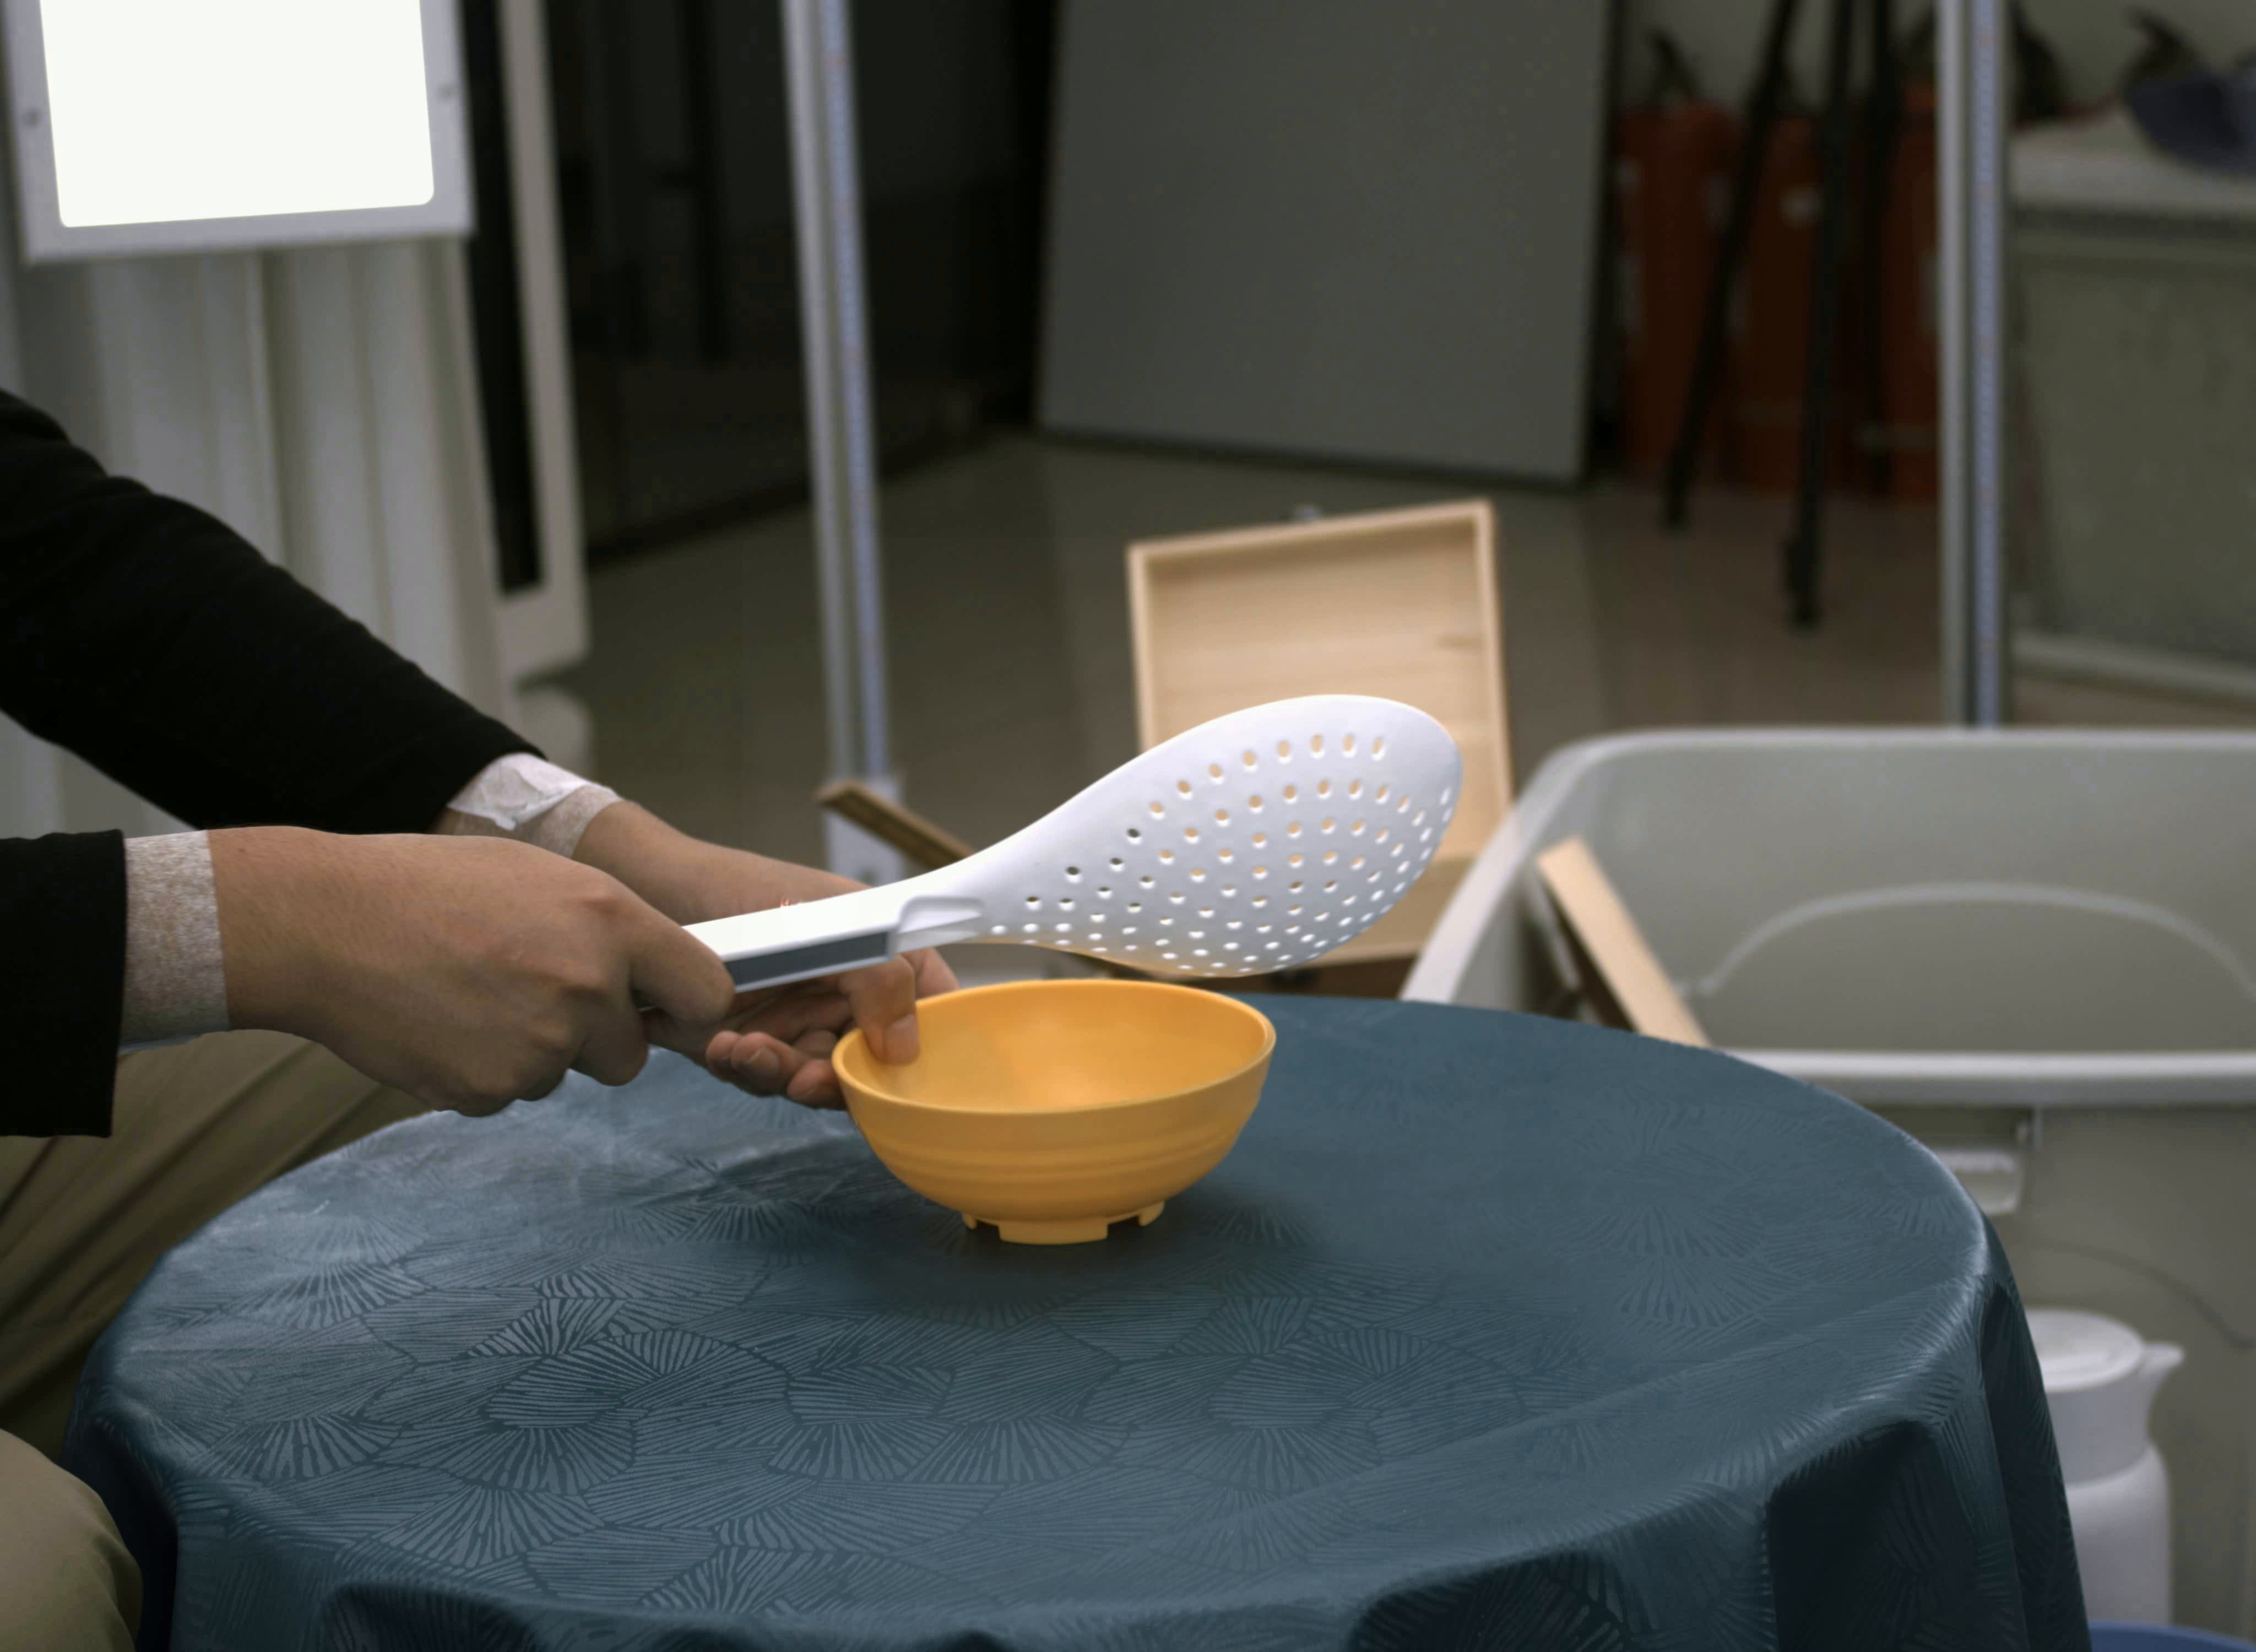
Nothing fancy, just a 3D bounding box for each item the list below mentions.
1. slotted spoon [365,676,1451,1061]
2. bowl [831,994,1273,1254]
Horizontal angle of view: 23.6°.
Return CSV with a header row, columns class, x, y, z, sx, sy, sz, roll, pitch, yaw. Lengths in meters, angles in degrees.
class,x,y,z,sx,sy,sz,roll,pitch,yaw
slotted spoon,-0.063,0.024,1.660,0.344,0.136,0.046,-8,55,-9
bowl,-0.024,0.100,1.743,0.143,0.061,0.145,-2,13,0
